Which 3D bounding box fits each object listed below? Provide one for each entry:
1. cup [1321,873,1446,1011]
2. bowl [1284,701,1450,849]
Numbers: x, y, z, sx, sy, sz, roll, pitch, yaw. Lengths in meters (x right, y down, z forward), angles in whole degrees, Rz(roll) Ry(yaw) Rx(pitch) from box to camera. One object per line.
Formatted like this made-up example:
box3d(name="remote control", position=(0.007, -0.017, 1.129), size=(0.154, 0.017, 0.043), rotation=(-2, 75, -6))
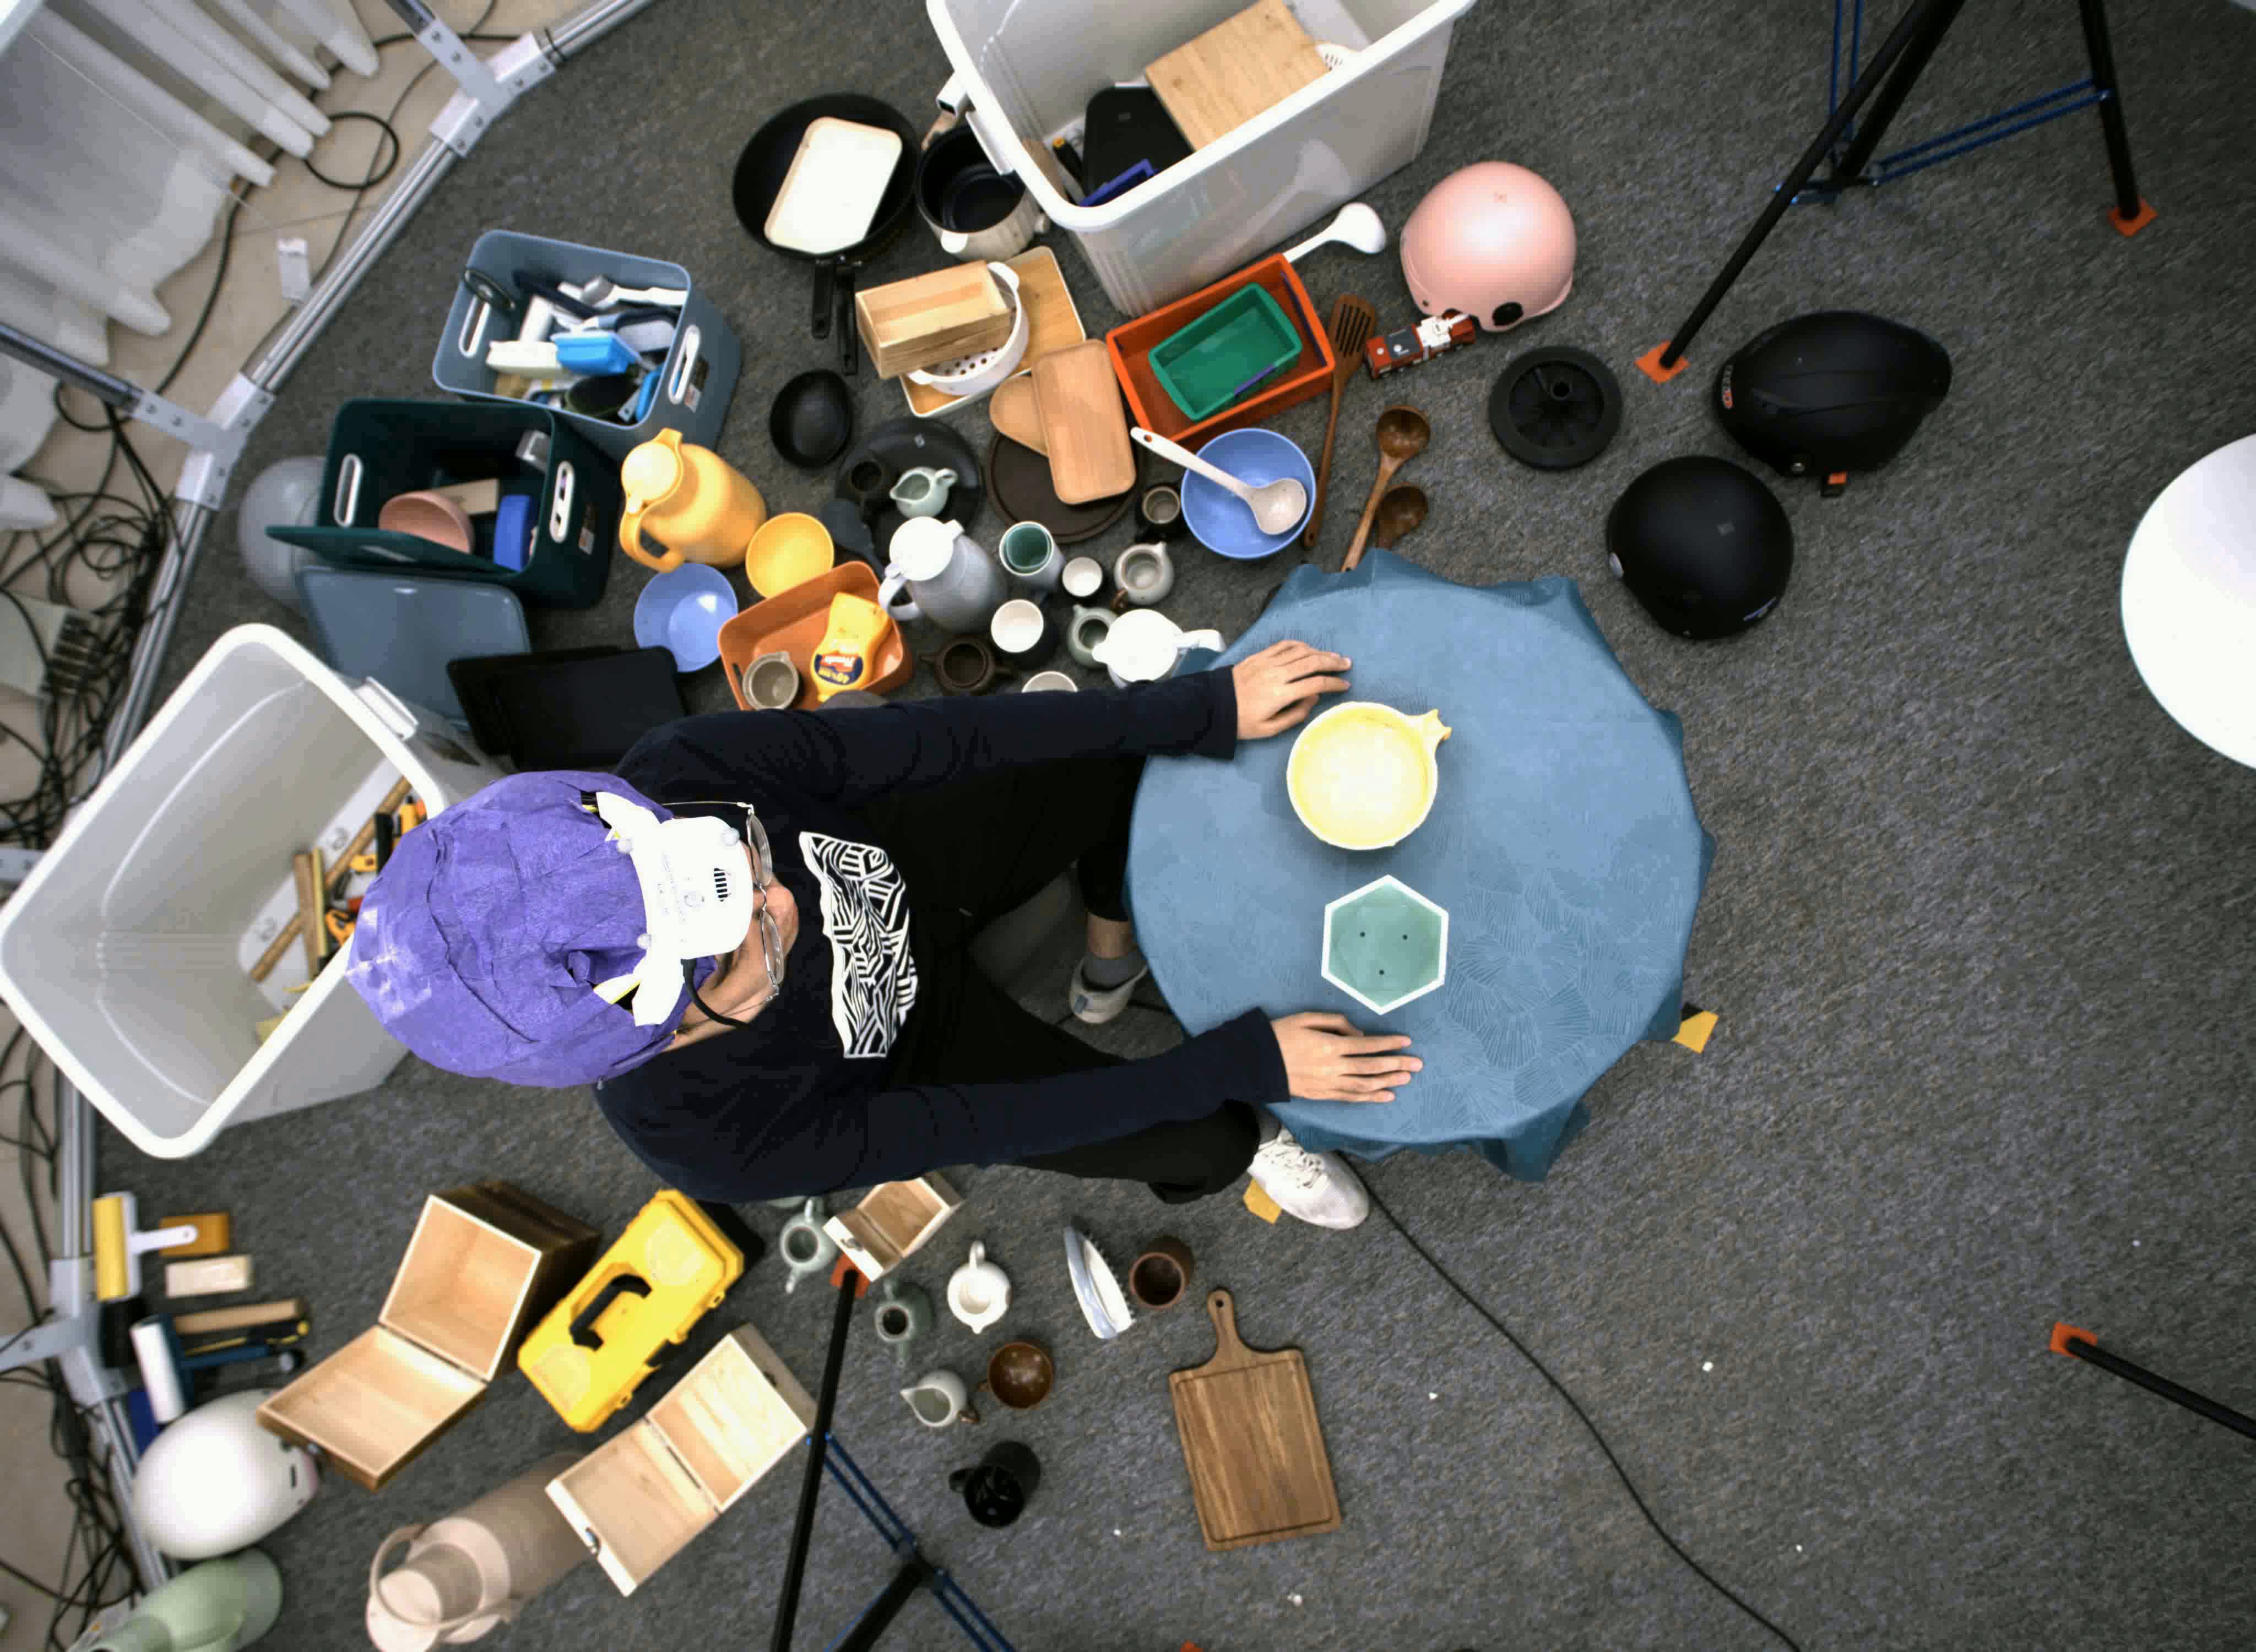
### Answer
box3d(name="cup", position=(0.255, 0.117, 1.376), size=(0.115, 0.163, 0.130), rotation=(2, 85, 11))
box3d(name="bowl", position=(0.253, -0.057, 1.433), size=(0.180, 0.074, 0.152), rotation=(-38, 77, 8))
